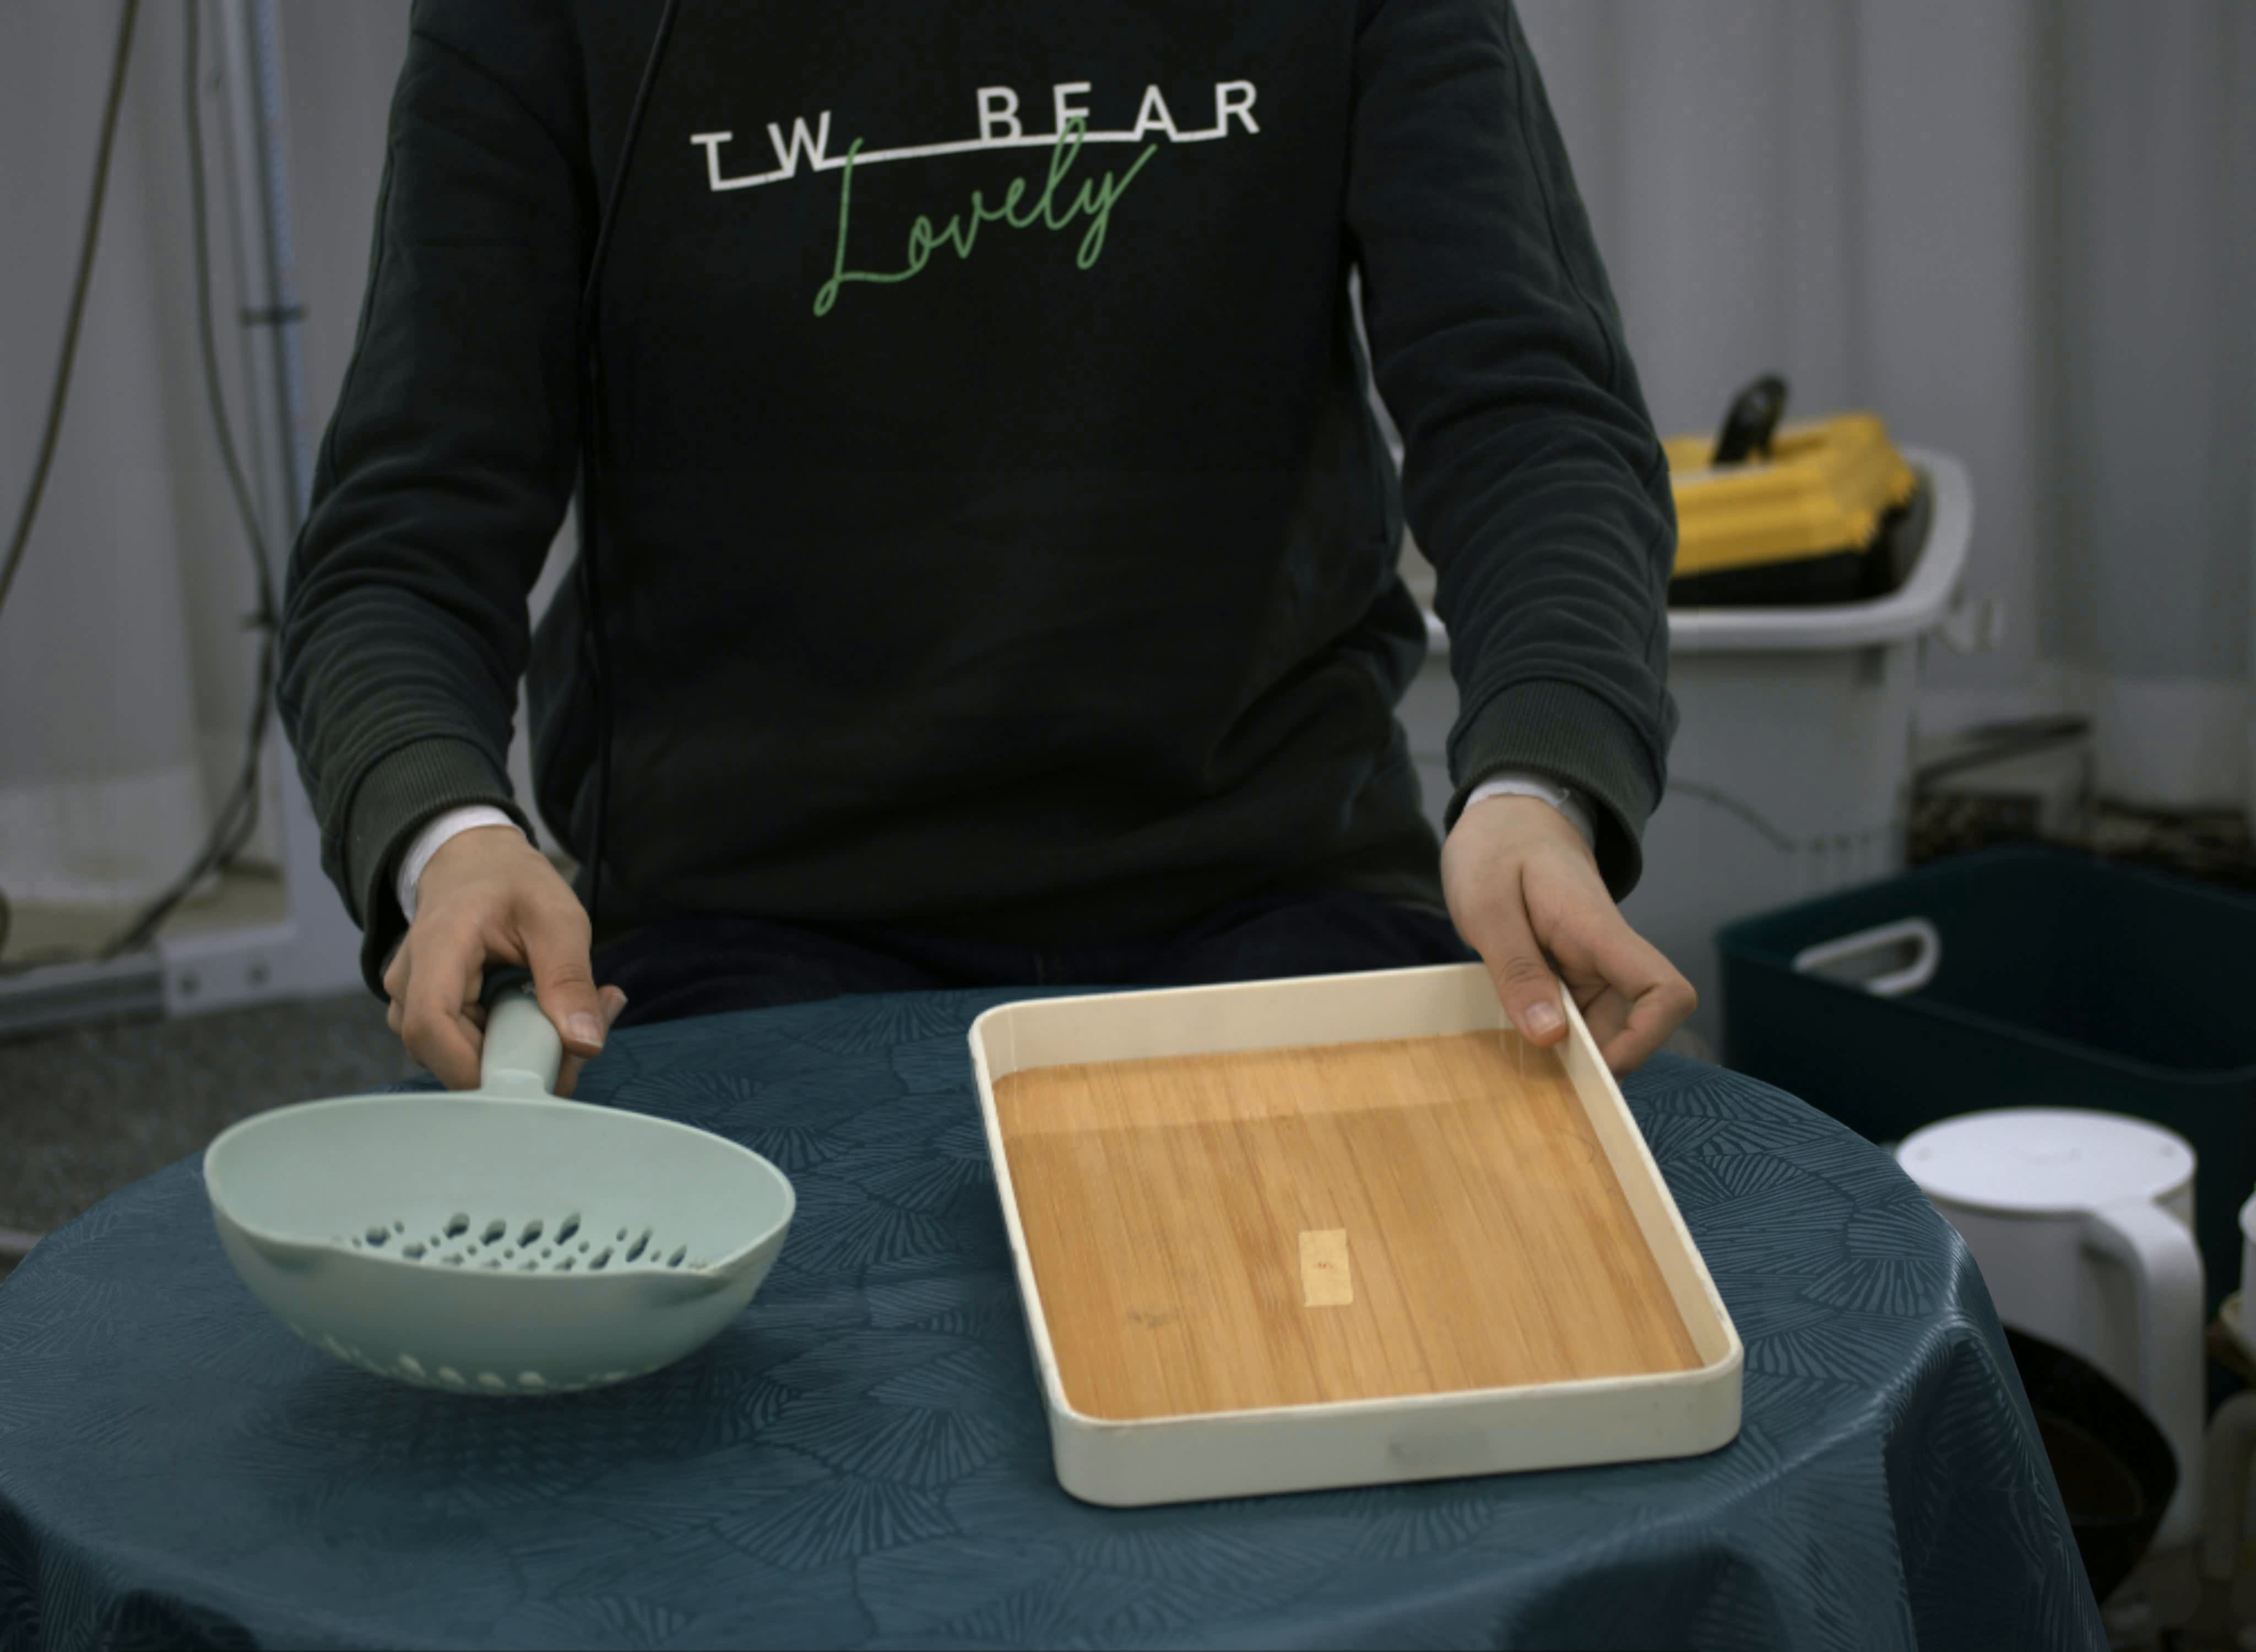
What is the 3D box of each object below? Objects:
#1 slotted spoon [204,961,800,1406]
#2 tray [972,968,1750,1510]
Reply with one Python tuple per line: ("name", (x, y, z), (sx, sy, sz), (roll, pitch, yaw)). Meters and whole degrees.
("slotted spoon", (-0.185, 0.092, 1.654), (0.168, 0.075, 0.362), (5, 21, -5))
("tray", (0.060, 0.115, 1.599), (0.191, 0.027, 0.303), (-4, 21, -5))
